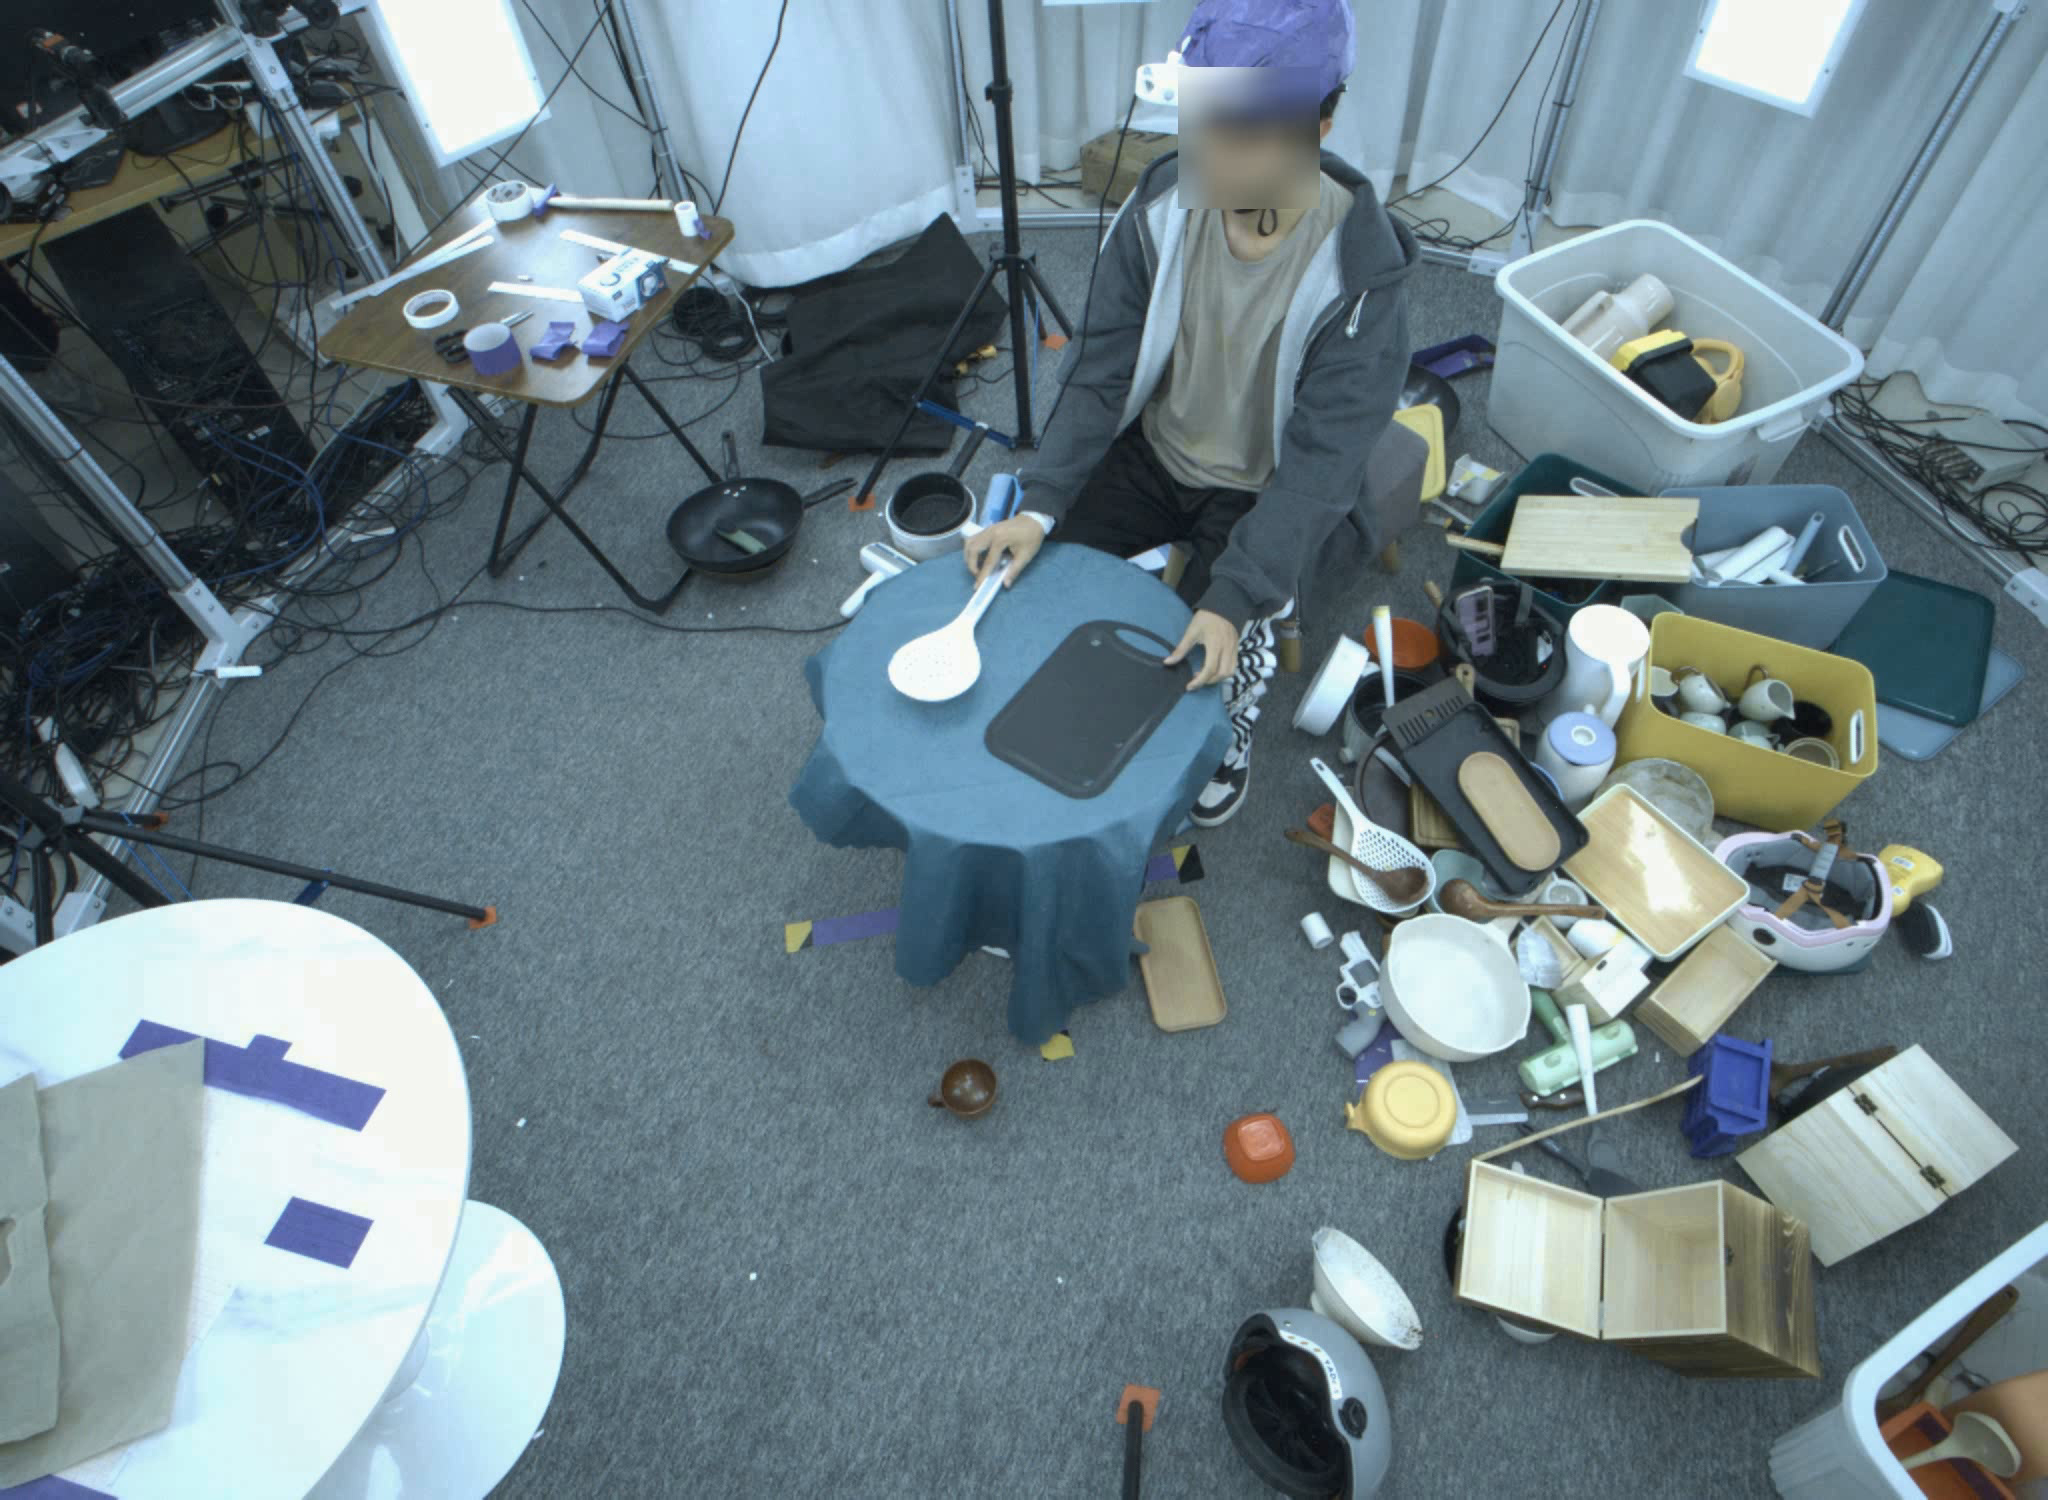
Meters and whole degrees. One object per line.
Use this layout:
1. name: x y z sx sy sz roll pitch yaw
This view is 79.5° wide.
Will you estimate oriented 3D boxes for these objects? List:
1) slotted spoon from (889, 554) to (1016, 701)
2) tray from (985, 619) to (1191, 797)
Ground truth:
1. slotted spoon: -0.093 -0.195 1.904 0.134 0.046 0.349 17 56 15
2. tray: 0.102 -0.076 1.837 0.208 0.010 0.327 30 61 21
